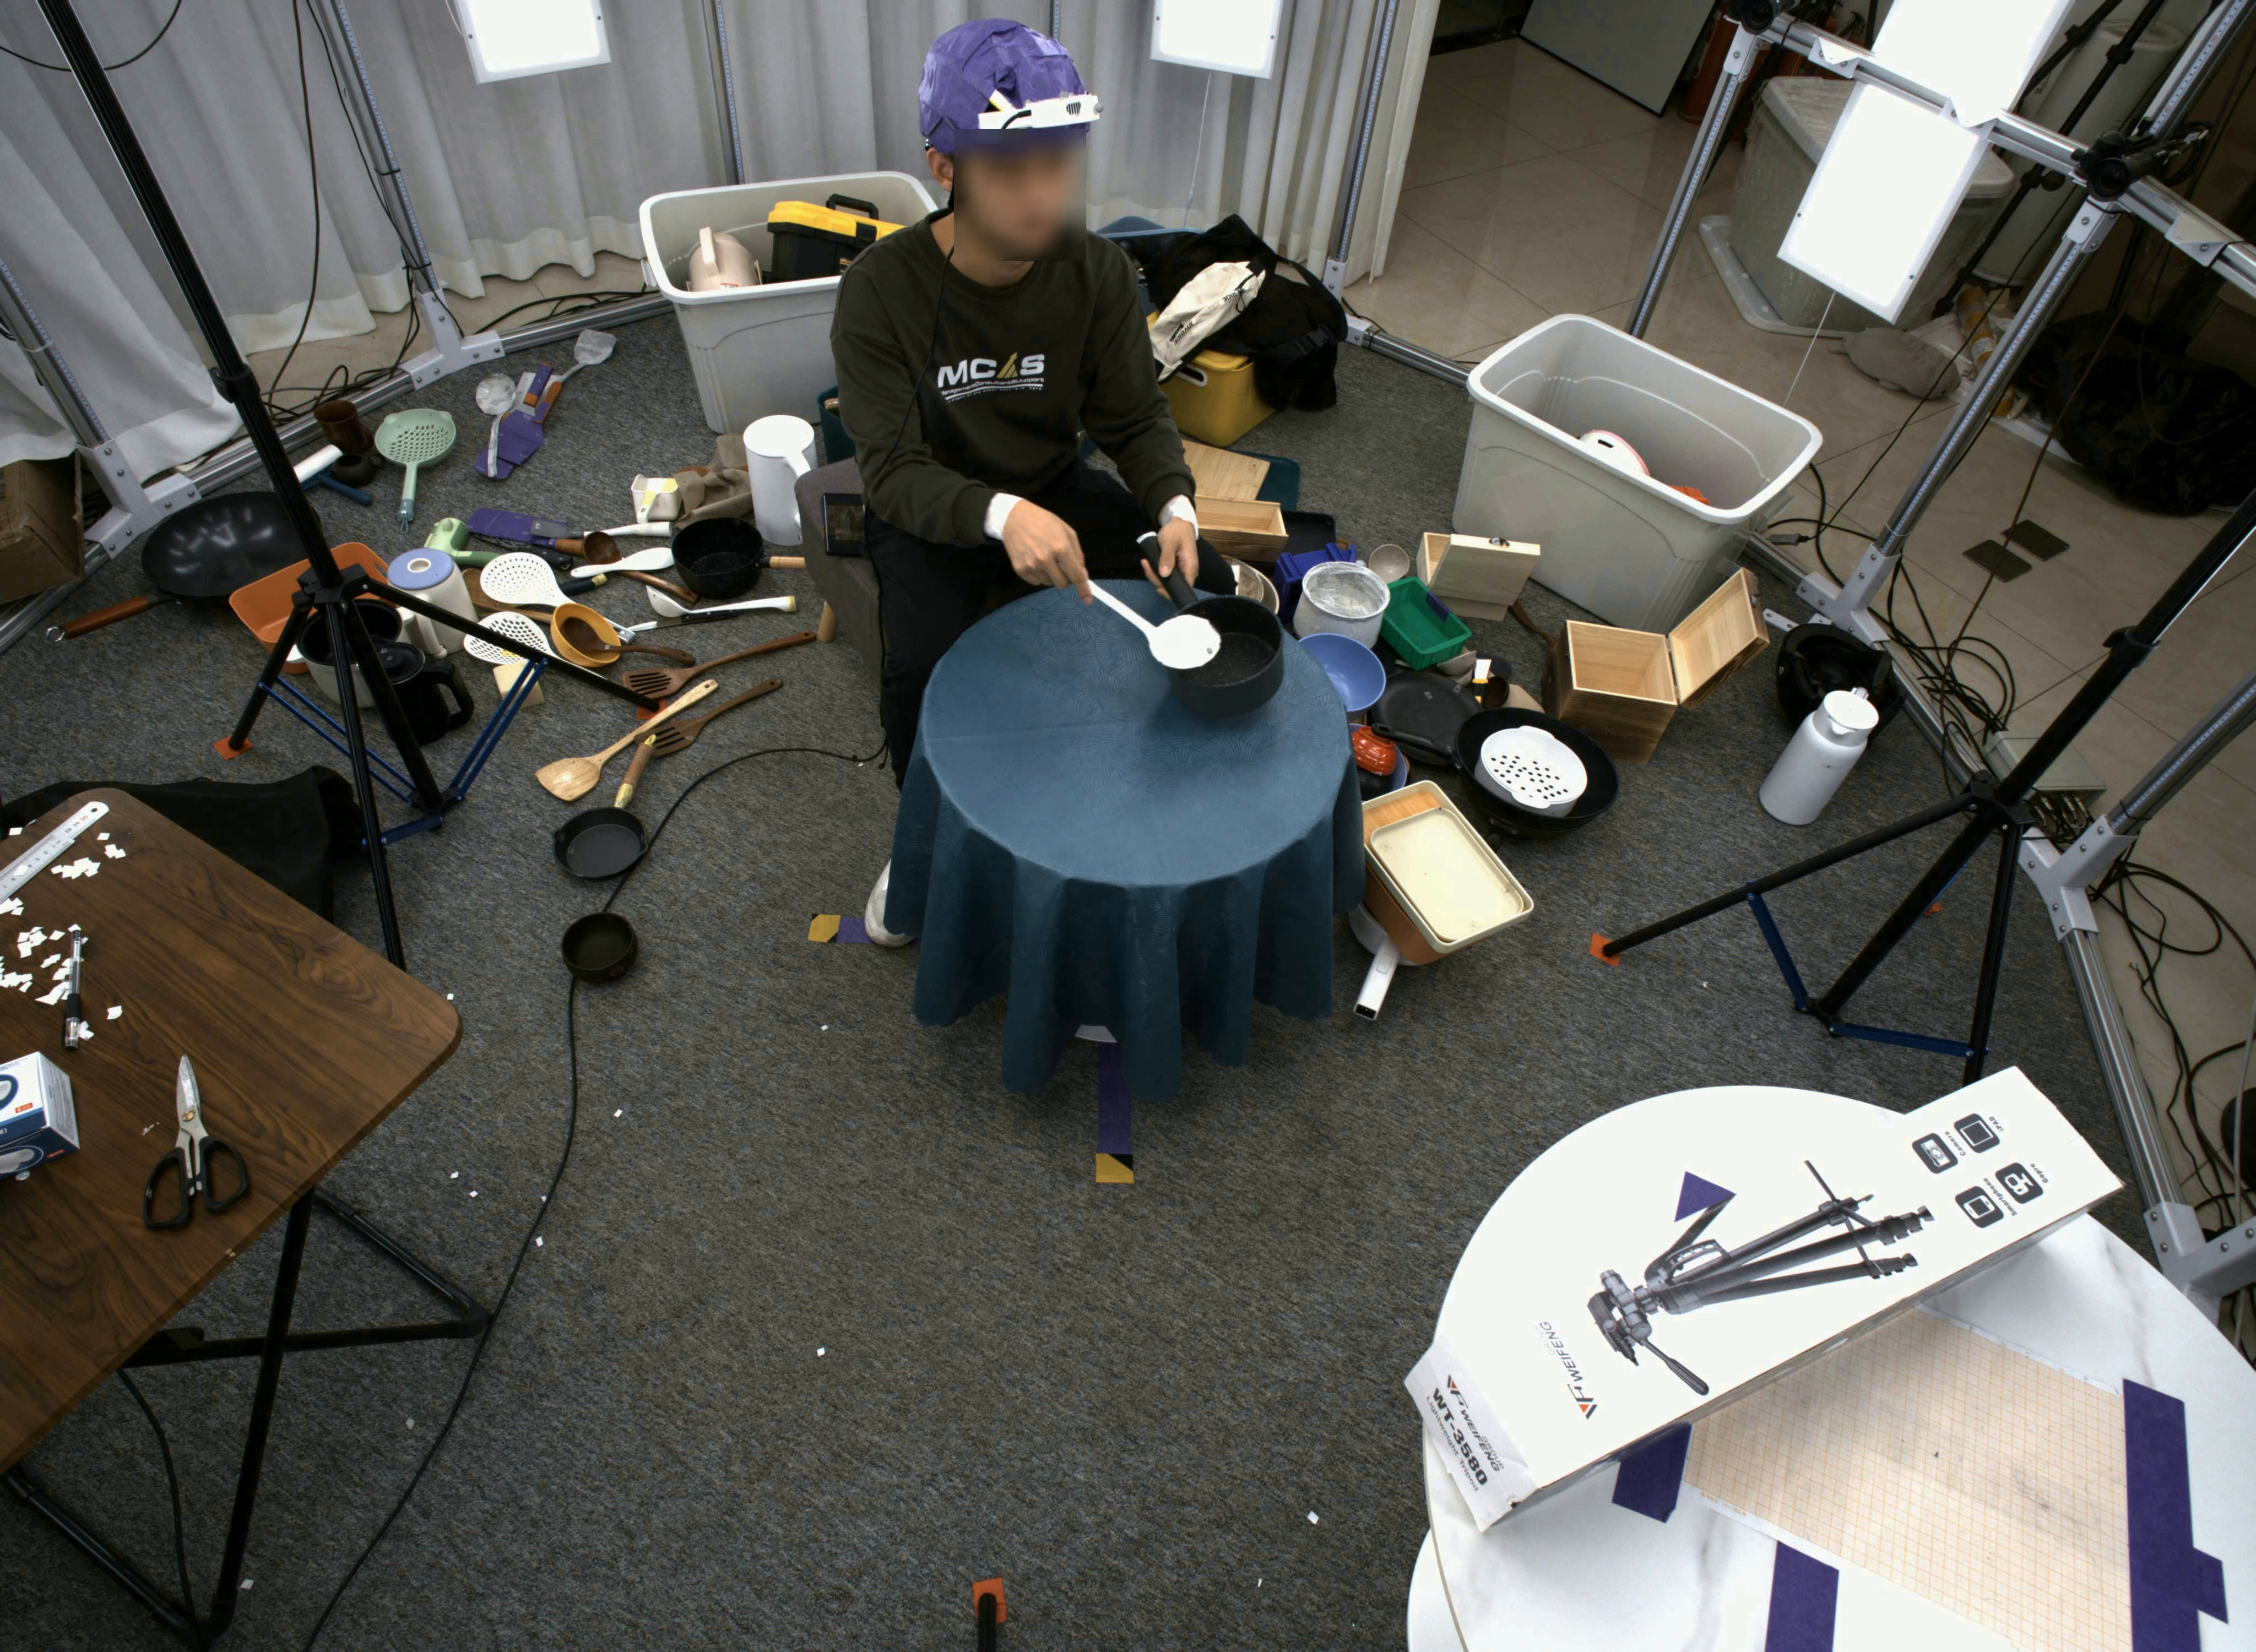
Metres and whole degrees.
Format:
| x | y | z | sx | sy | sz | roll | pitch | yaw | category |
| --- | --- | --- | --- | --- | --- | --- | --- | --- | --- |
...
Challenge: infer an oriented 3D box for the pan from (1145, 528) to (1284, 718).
| x | y | z | sx | sy | sz | roll | pitch | yaw | category |
| --- | --- | --- | --- | --- | --- | --- | --- | --- | --- |
| 0.102 | -0.293 | 1.830 | 0.172 | 0.084 | 0.336 | -22 | 53 | -6 | pan |

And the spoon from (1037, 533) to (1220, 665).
| x | y | z | sx | sy | sz | roll | pitch | yaw | category |
| --- | --- | --- | --- | --- | --- | --- | --- | --- | --- |
| 0.001 | -0.312 | 1.708 | 0.276 | 0.058 | 0.102 | 39 | 56 | -6 | spoon |
